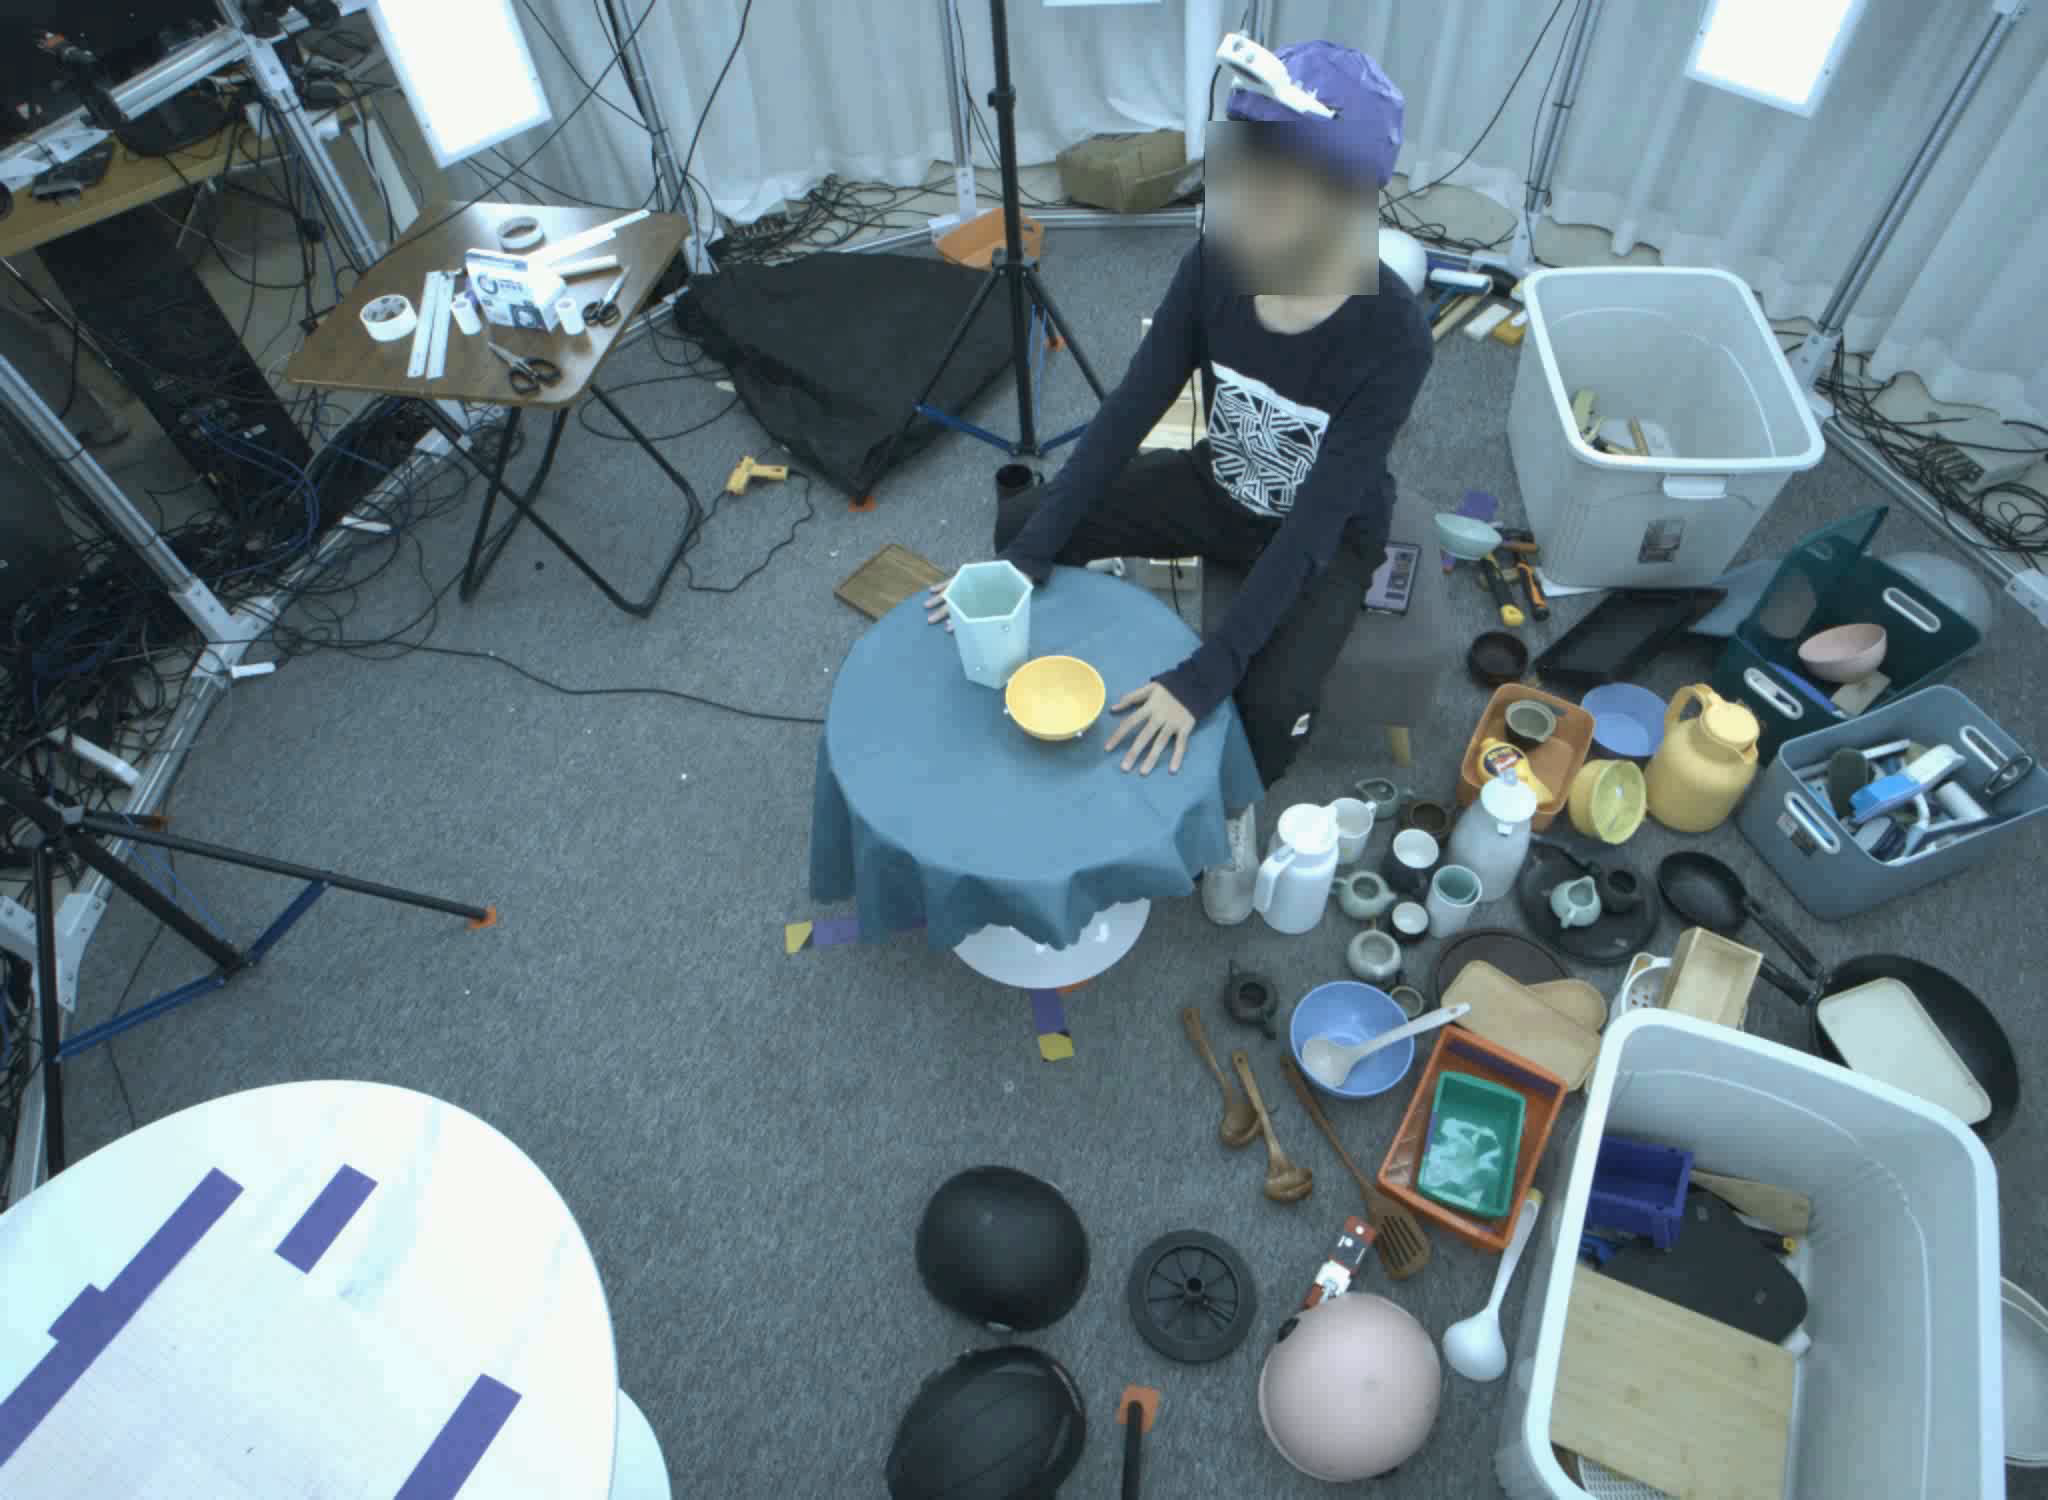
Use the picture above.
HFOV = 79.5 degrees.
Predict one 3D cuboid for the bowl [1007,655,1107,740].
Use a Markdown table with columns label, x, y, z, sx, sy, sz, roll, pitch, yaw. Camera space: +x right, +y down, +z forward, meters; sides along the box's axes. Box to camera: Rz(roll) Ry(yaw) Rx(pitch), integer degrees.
| label | x | y | z | sx | sy | sz | roll | pitch | yaw |
| --- | --- | --- | --- | --- | --- | --- | --- | --- | --- |
| bowl | 0.047 | -0.065 | 1.792 | 0.145 | 0.060 | 0.144 | 1 | 55 | 0 |

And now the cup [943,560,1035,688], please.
| label | x | y | z | sx | sy | sz | roll | pitch | yaw |
| --- | --- | --- | --- | --- | --- | --- | --- | --- | --- |
| cup | -0.048 | -0.180 | 1.809 | 0.116 | 0.164 | 0.128 | -32 | 59 | -19 |
